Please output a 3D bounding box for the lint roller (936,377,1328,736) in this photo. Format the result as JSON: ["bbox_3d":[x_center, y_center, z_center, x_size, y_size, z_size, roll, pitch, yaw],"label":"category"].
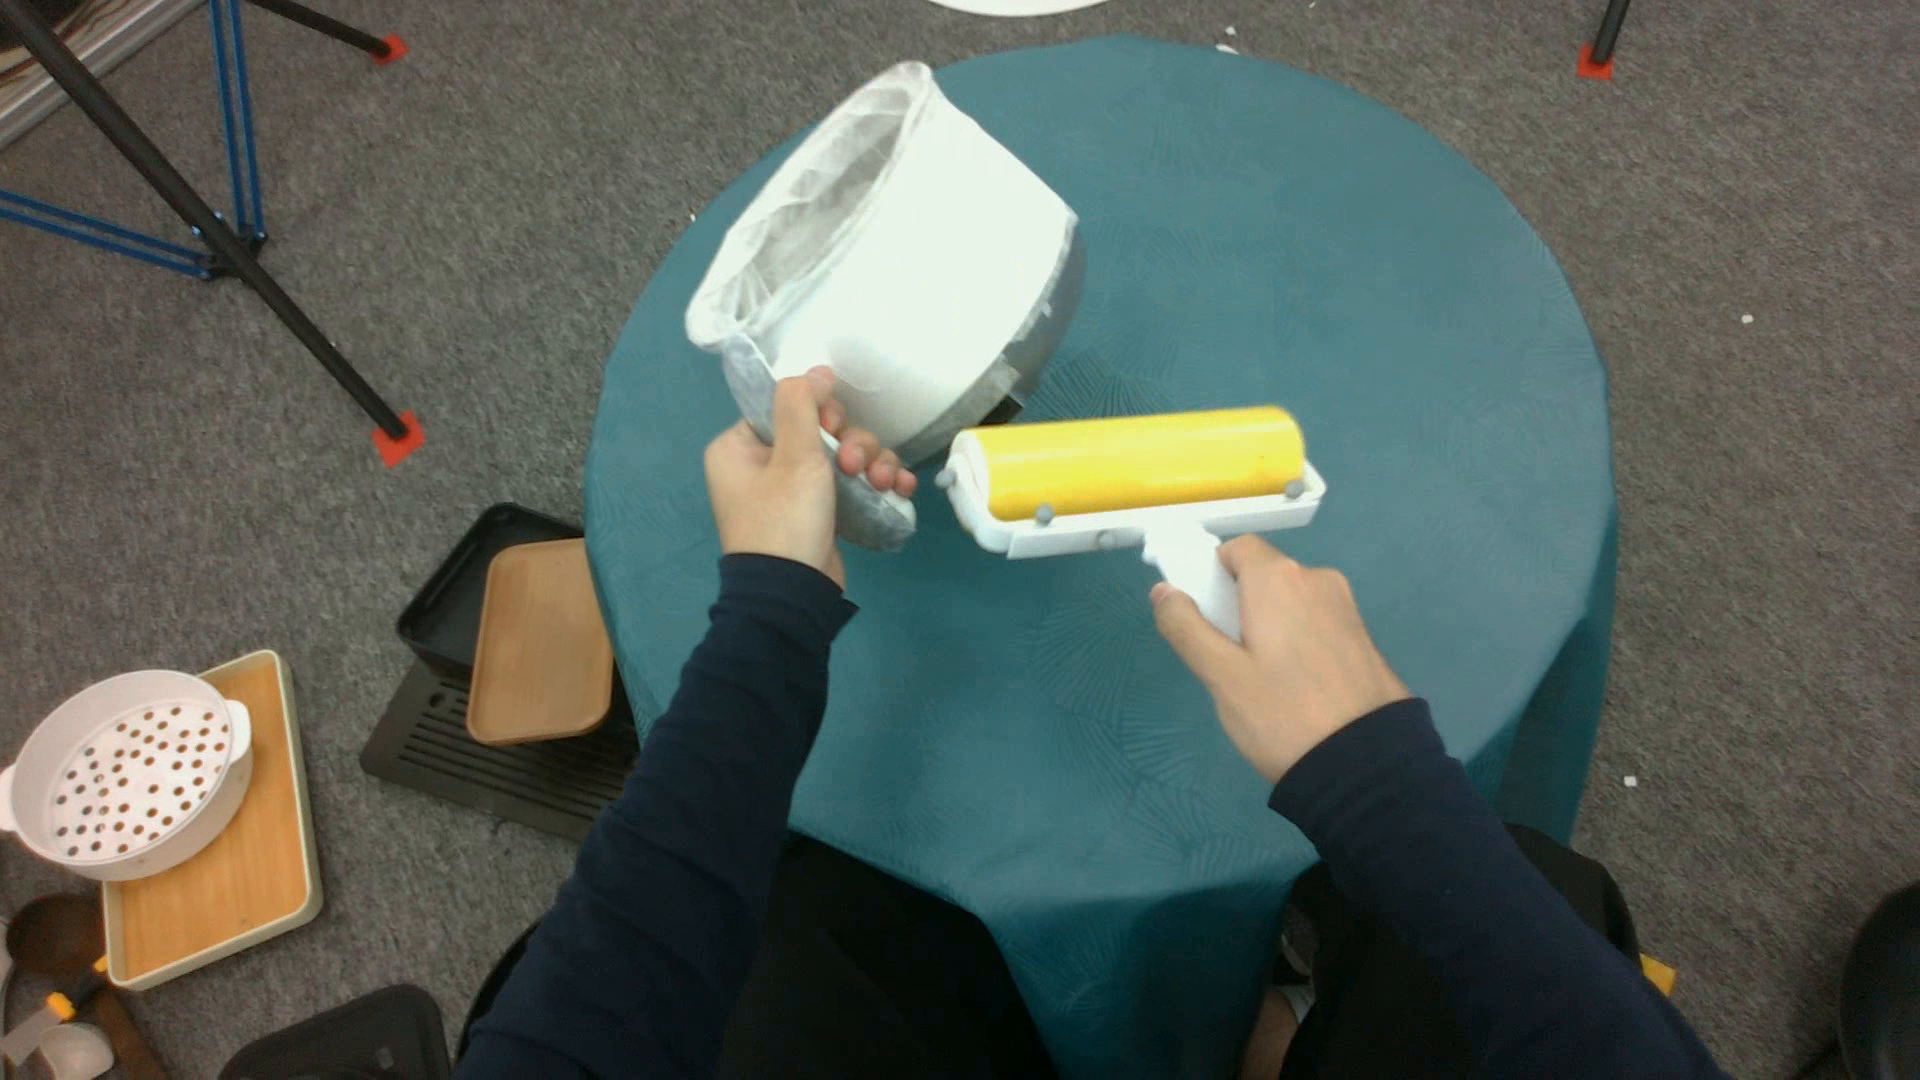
[{"bbox_3d":[0.100,-0.001,0.582,0.175,0.051,0.192,-8,39,-23],"label":"lint roller"}]

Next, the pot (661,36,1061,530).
[{"bbox_3d":[-0.053,-0.122,0.689,0.178,0.136,0.235,-27,36,42],"label":"pot"}]
